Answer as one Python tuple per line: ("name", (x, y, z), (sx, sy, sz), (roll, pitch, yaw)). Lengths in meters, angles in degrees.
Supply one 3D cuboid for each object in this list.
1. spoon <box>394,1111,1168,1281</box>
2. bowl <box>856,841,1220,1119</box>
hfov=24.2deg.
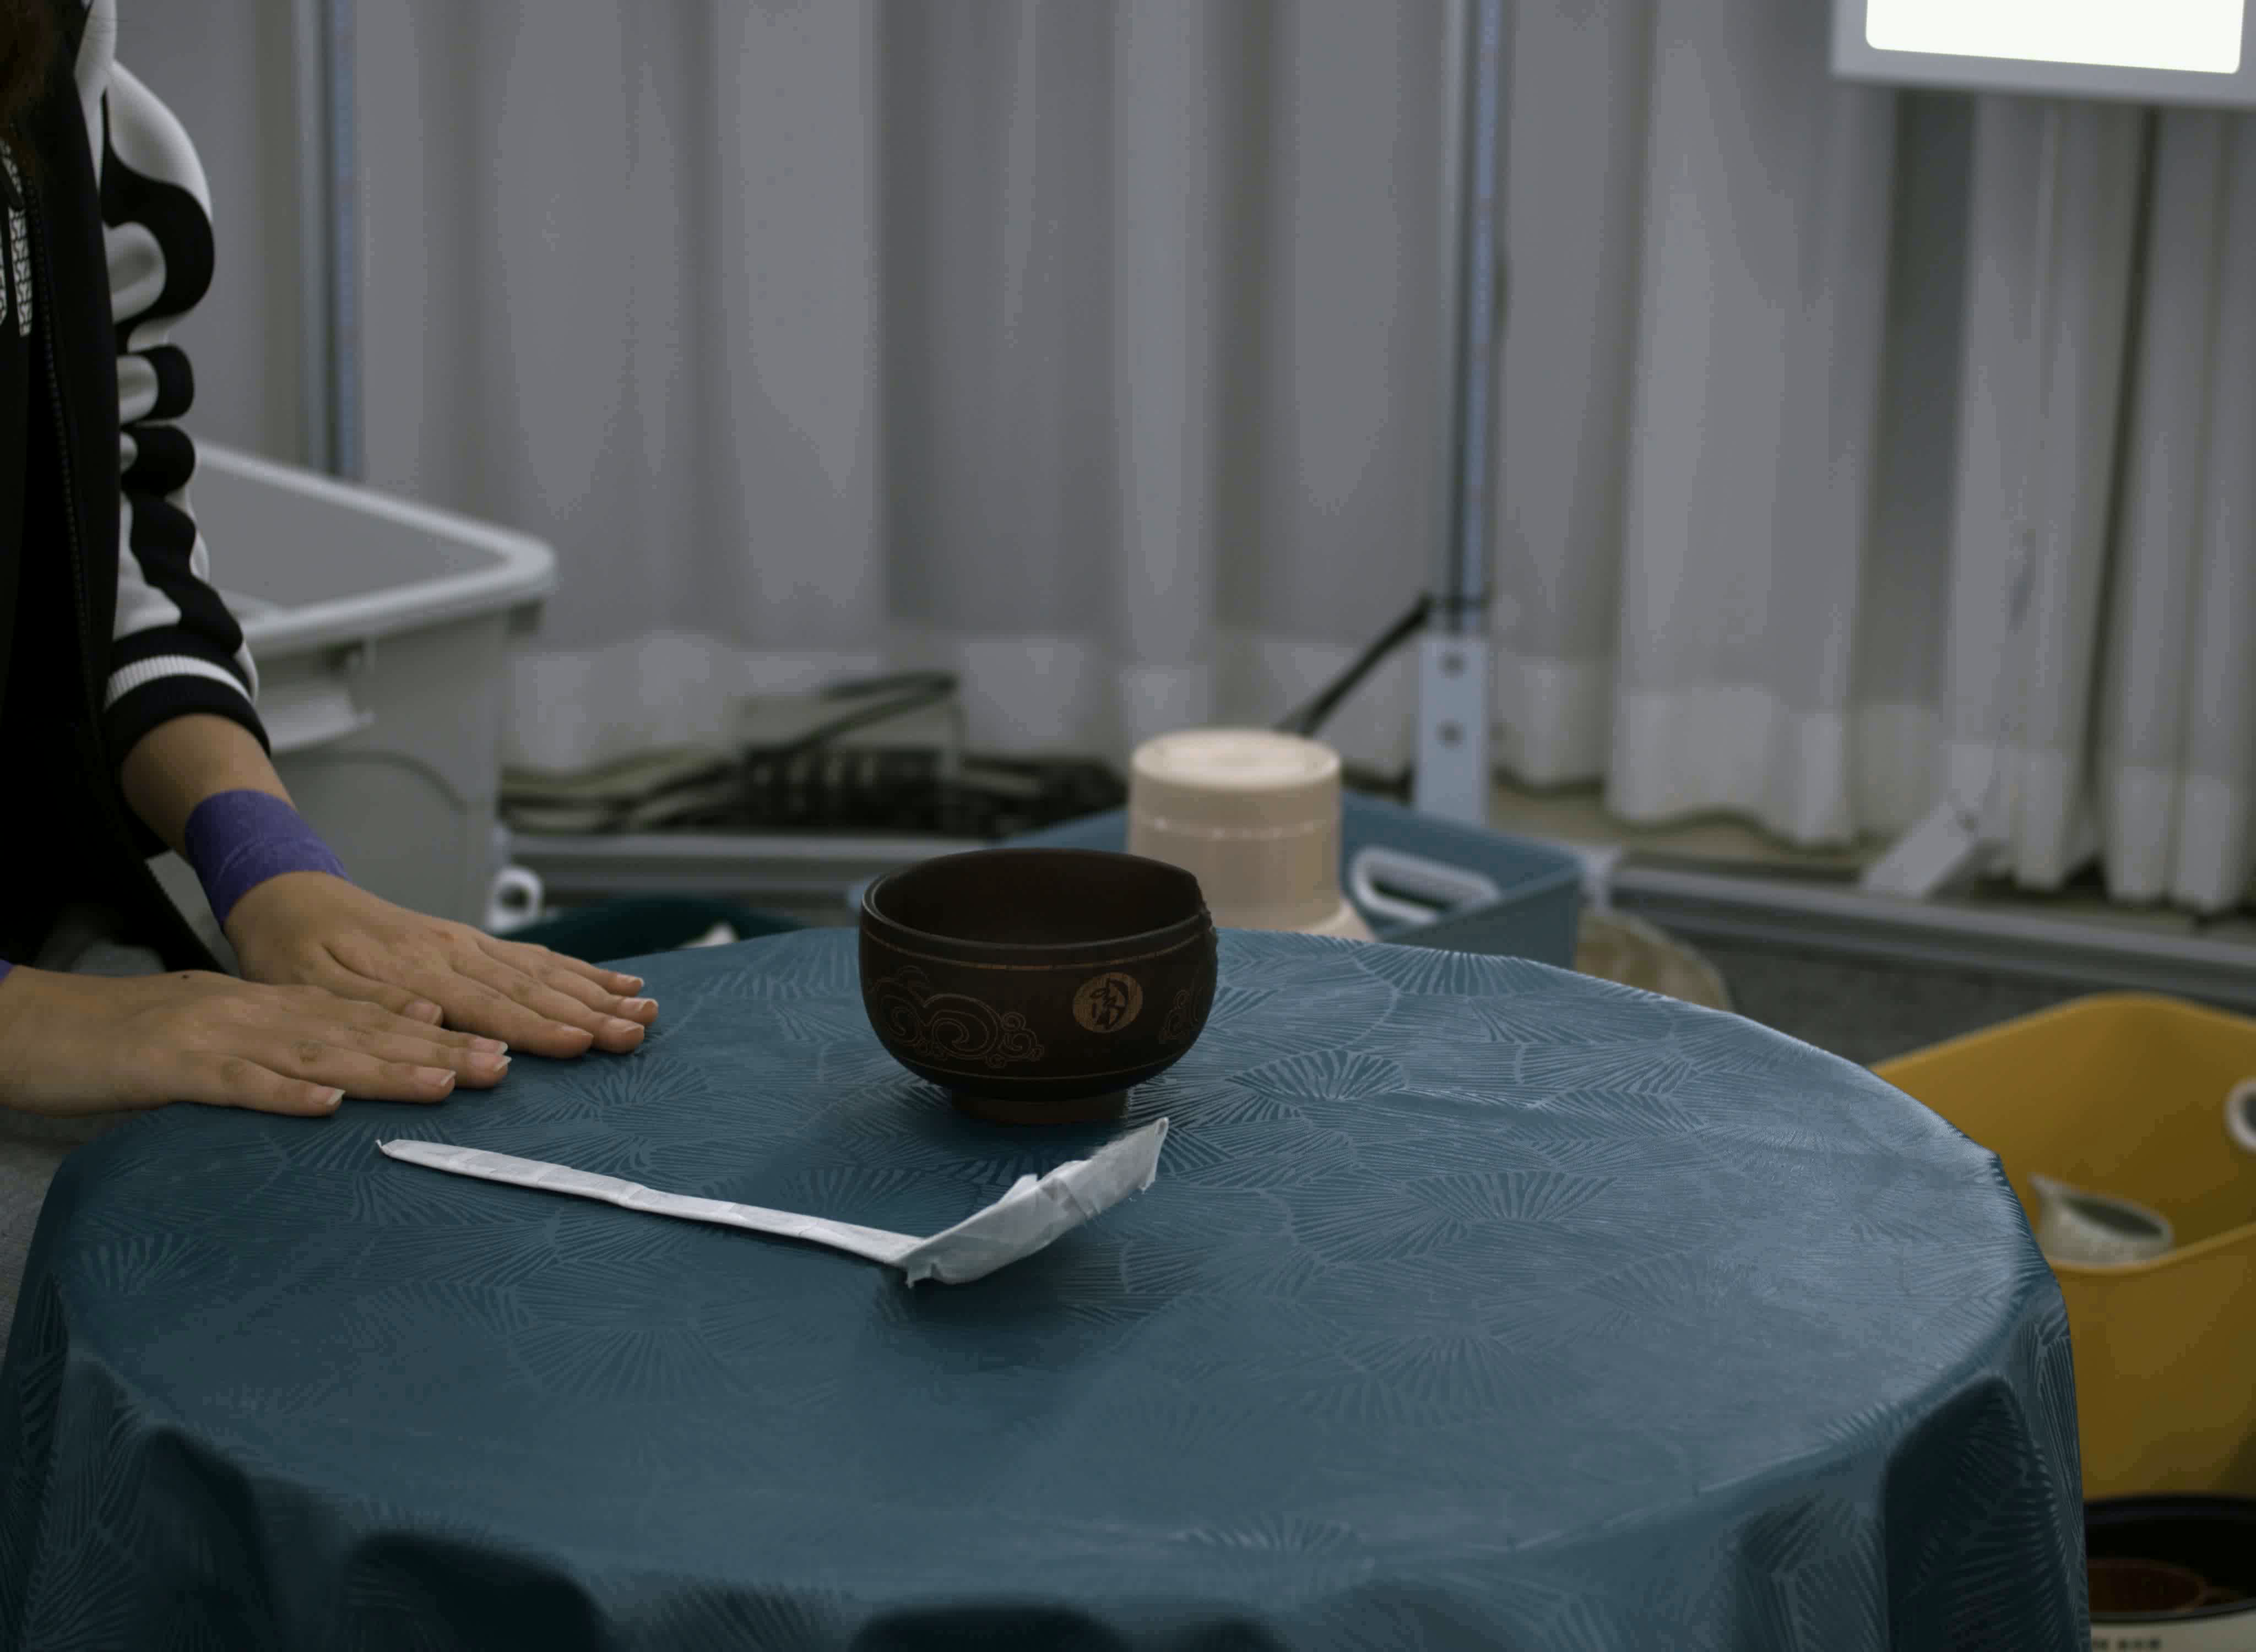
("spoon", (-0.111, 0.091, 1.585), (0.274, 0.060, 0.101), (10, 15, 31))
("bowl", (-0.029, 0.053, 1.696), (0.117, 0.070, 0.117), (1, 15, 0))
